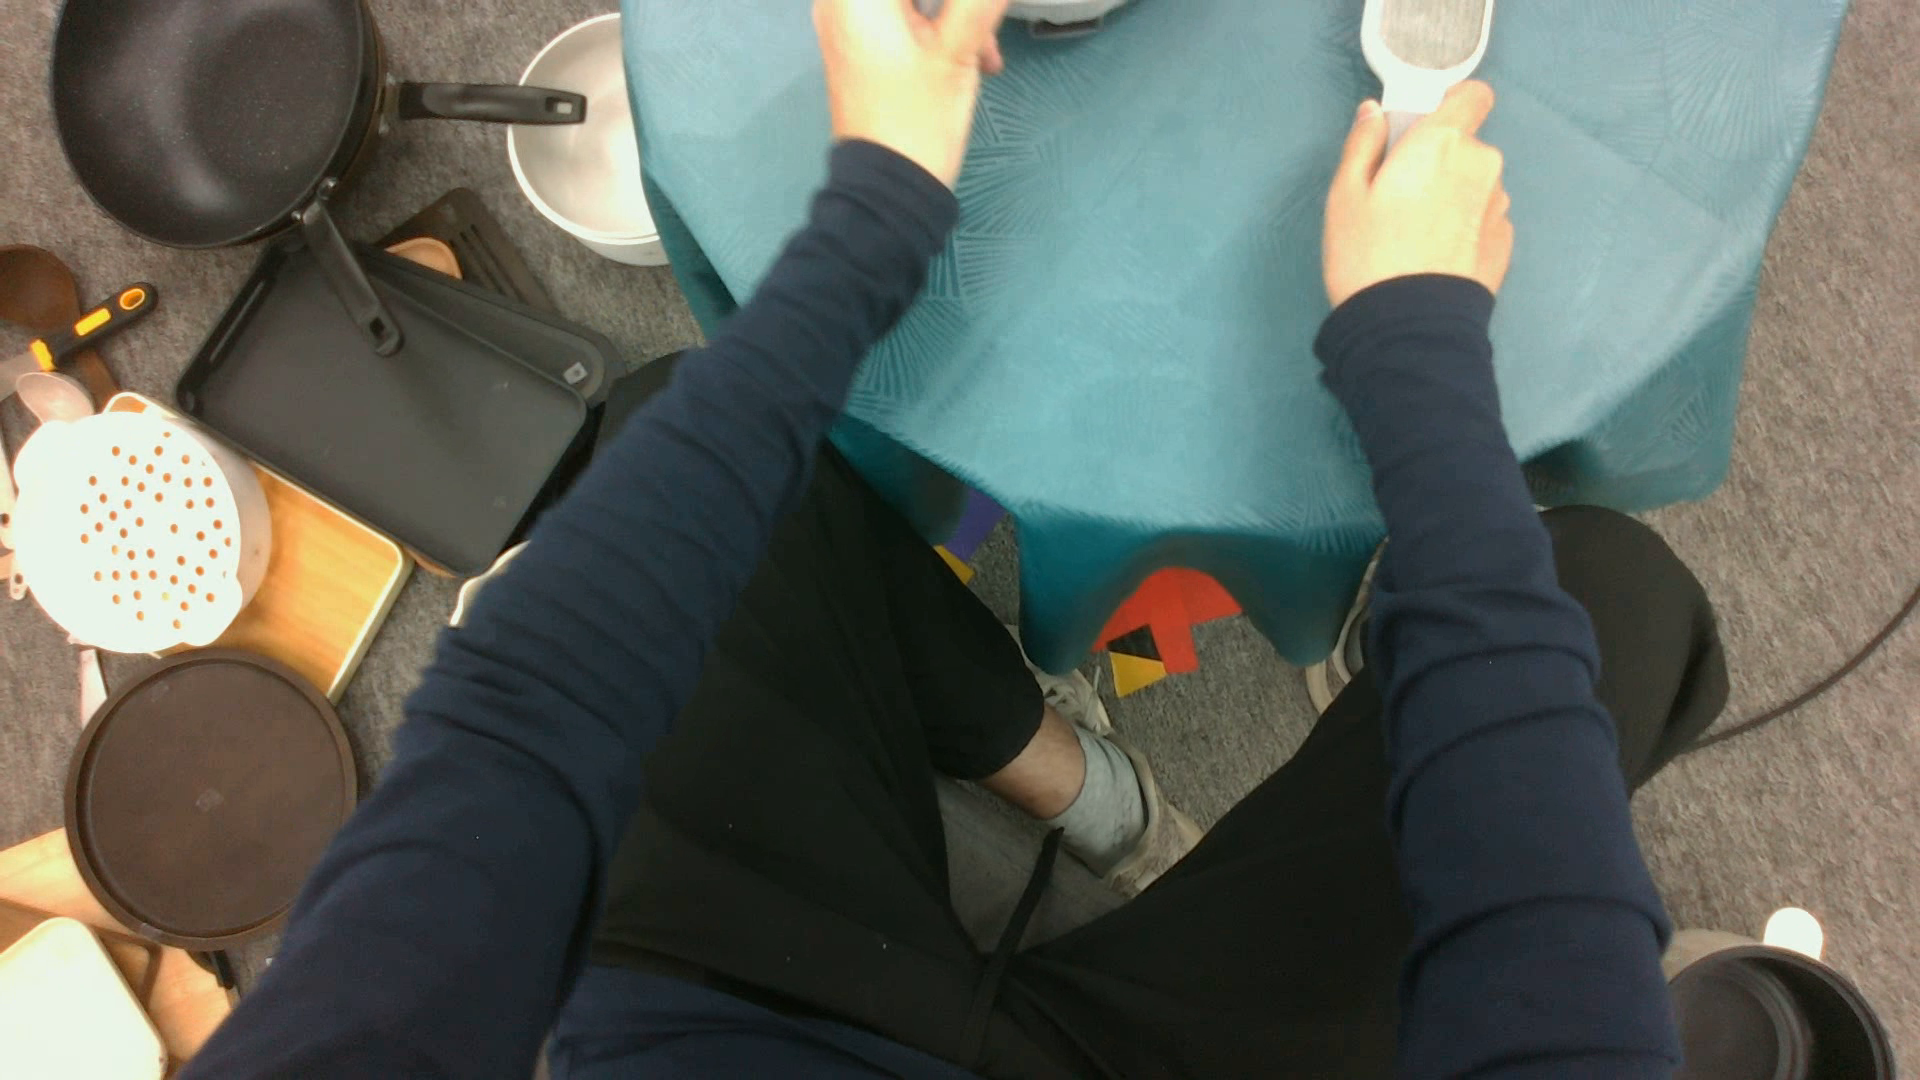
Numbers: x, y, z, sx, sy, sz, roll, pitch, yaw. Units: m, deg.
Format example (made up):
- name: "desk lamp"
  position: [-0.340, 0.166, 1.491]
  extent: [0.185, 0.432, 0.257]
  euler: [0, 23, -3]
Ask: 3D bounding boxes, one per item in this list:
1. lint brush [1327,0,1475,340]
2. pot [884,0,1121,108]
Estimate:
- name: "lint brush"
  position: [0.208, -0.237, 0.644]
  extent: [0.060, 0.021, 0.309]
  euler: [14, 78, -2]
- name: "pot"
  position: [0.026, -0.314, 0.611]
  extent: [0.178, 0.136, 0.234]
  euler: [22, 80, 6]
